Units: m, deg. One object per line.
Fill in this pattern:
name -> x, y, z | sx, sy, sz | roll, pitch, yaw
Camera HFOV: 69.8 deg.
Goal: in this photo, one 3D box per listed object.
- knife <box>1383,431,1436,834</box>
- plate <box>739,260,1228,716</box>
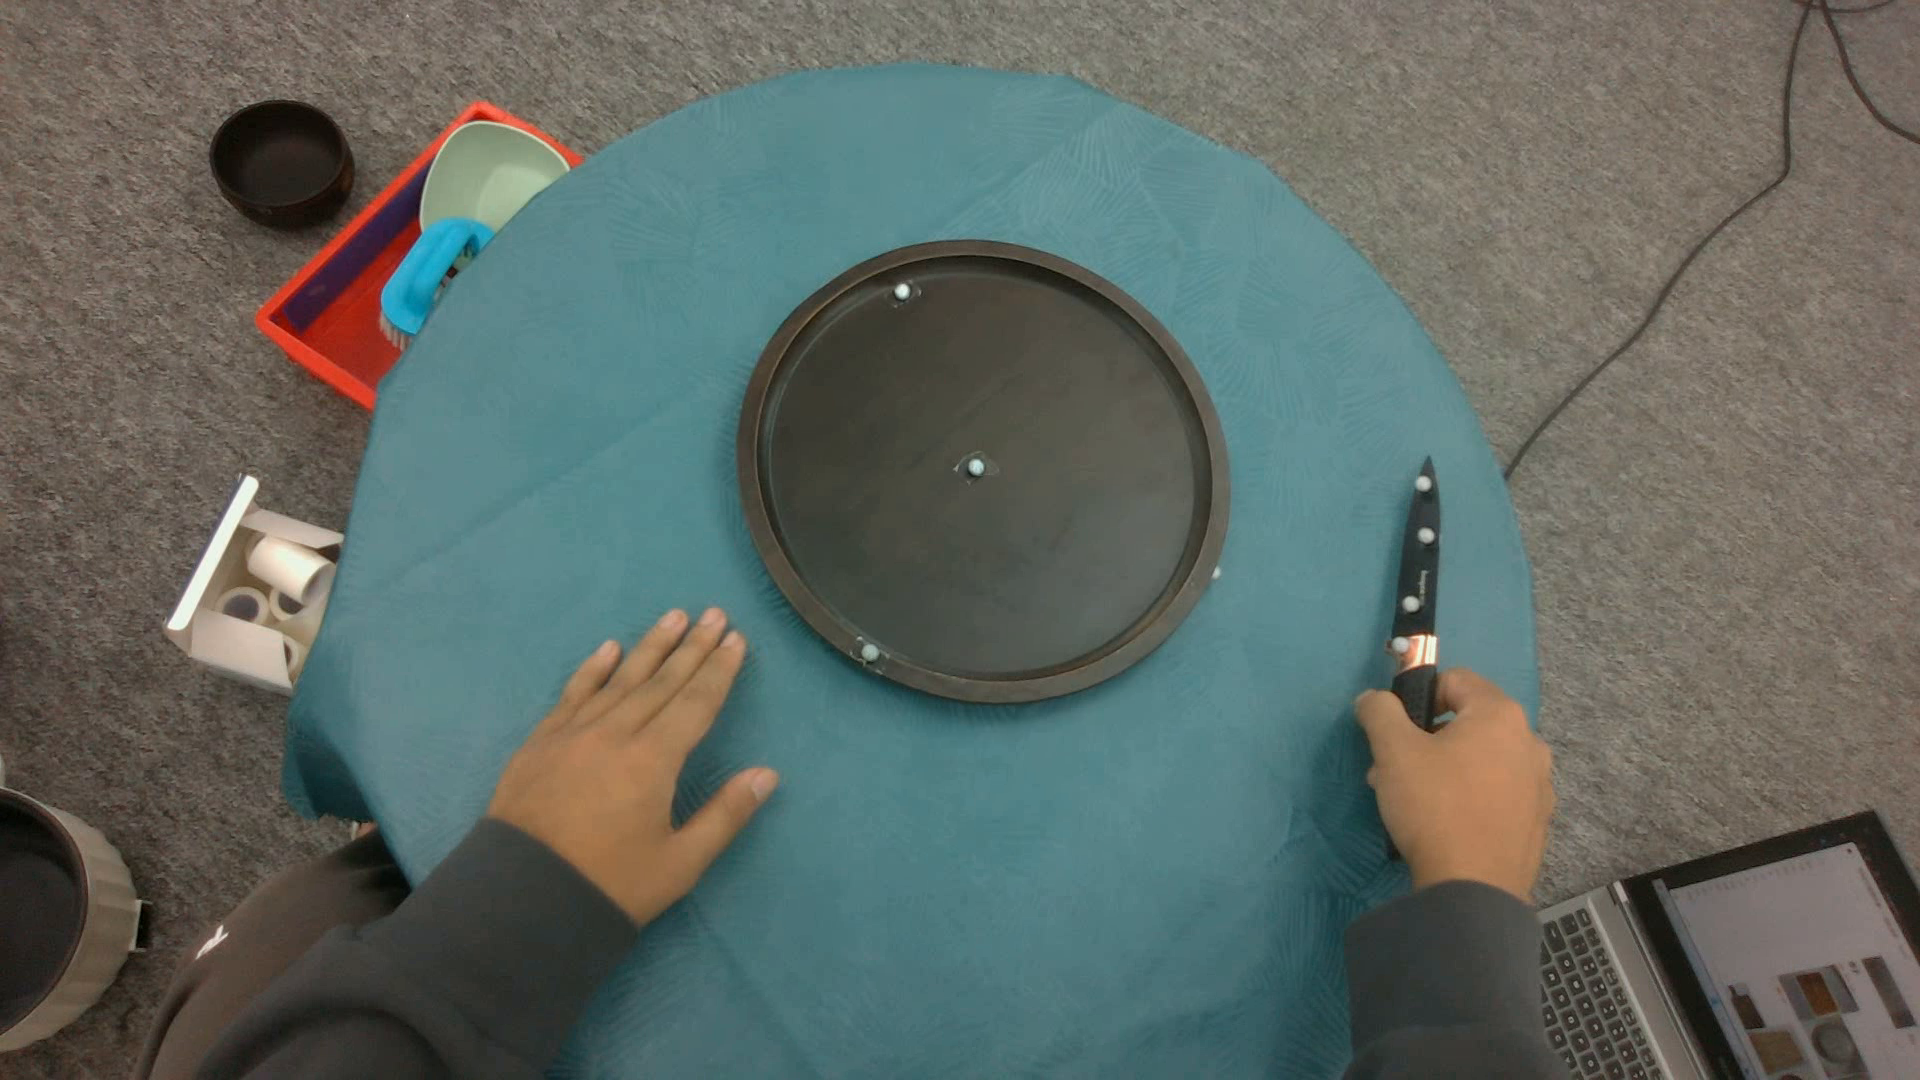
knife -> 0.229, 0.039, 0.702 | 0.017, 0.026, 0.226 | 34, 55, -39
plate -> 0.014, -0.032, 0.711 | 0.255, 0.029, 0.255 | 3, 70, -7
